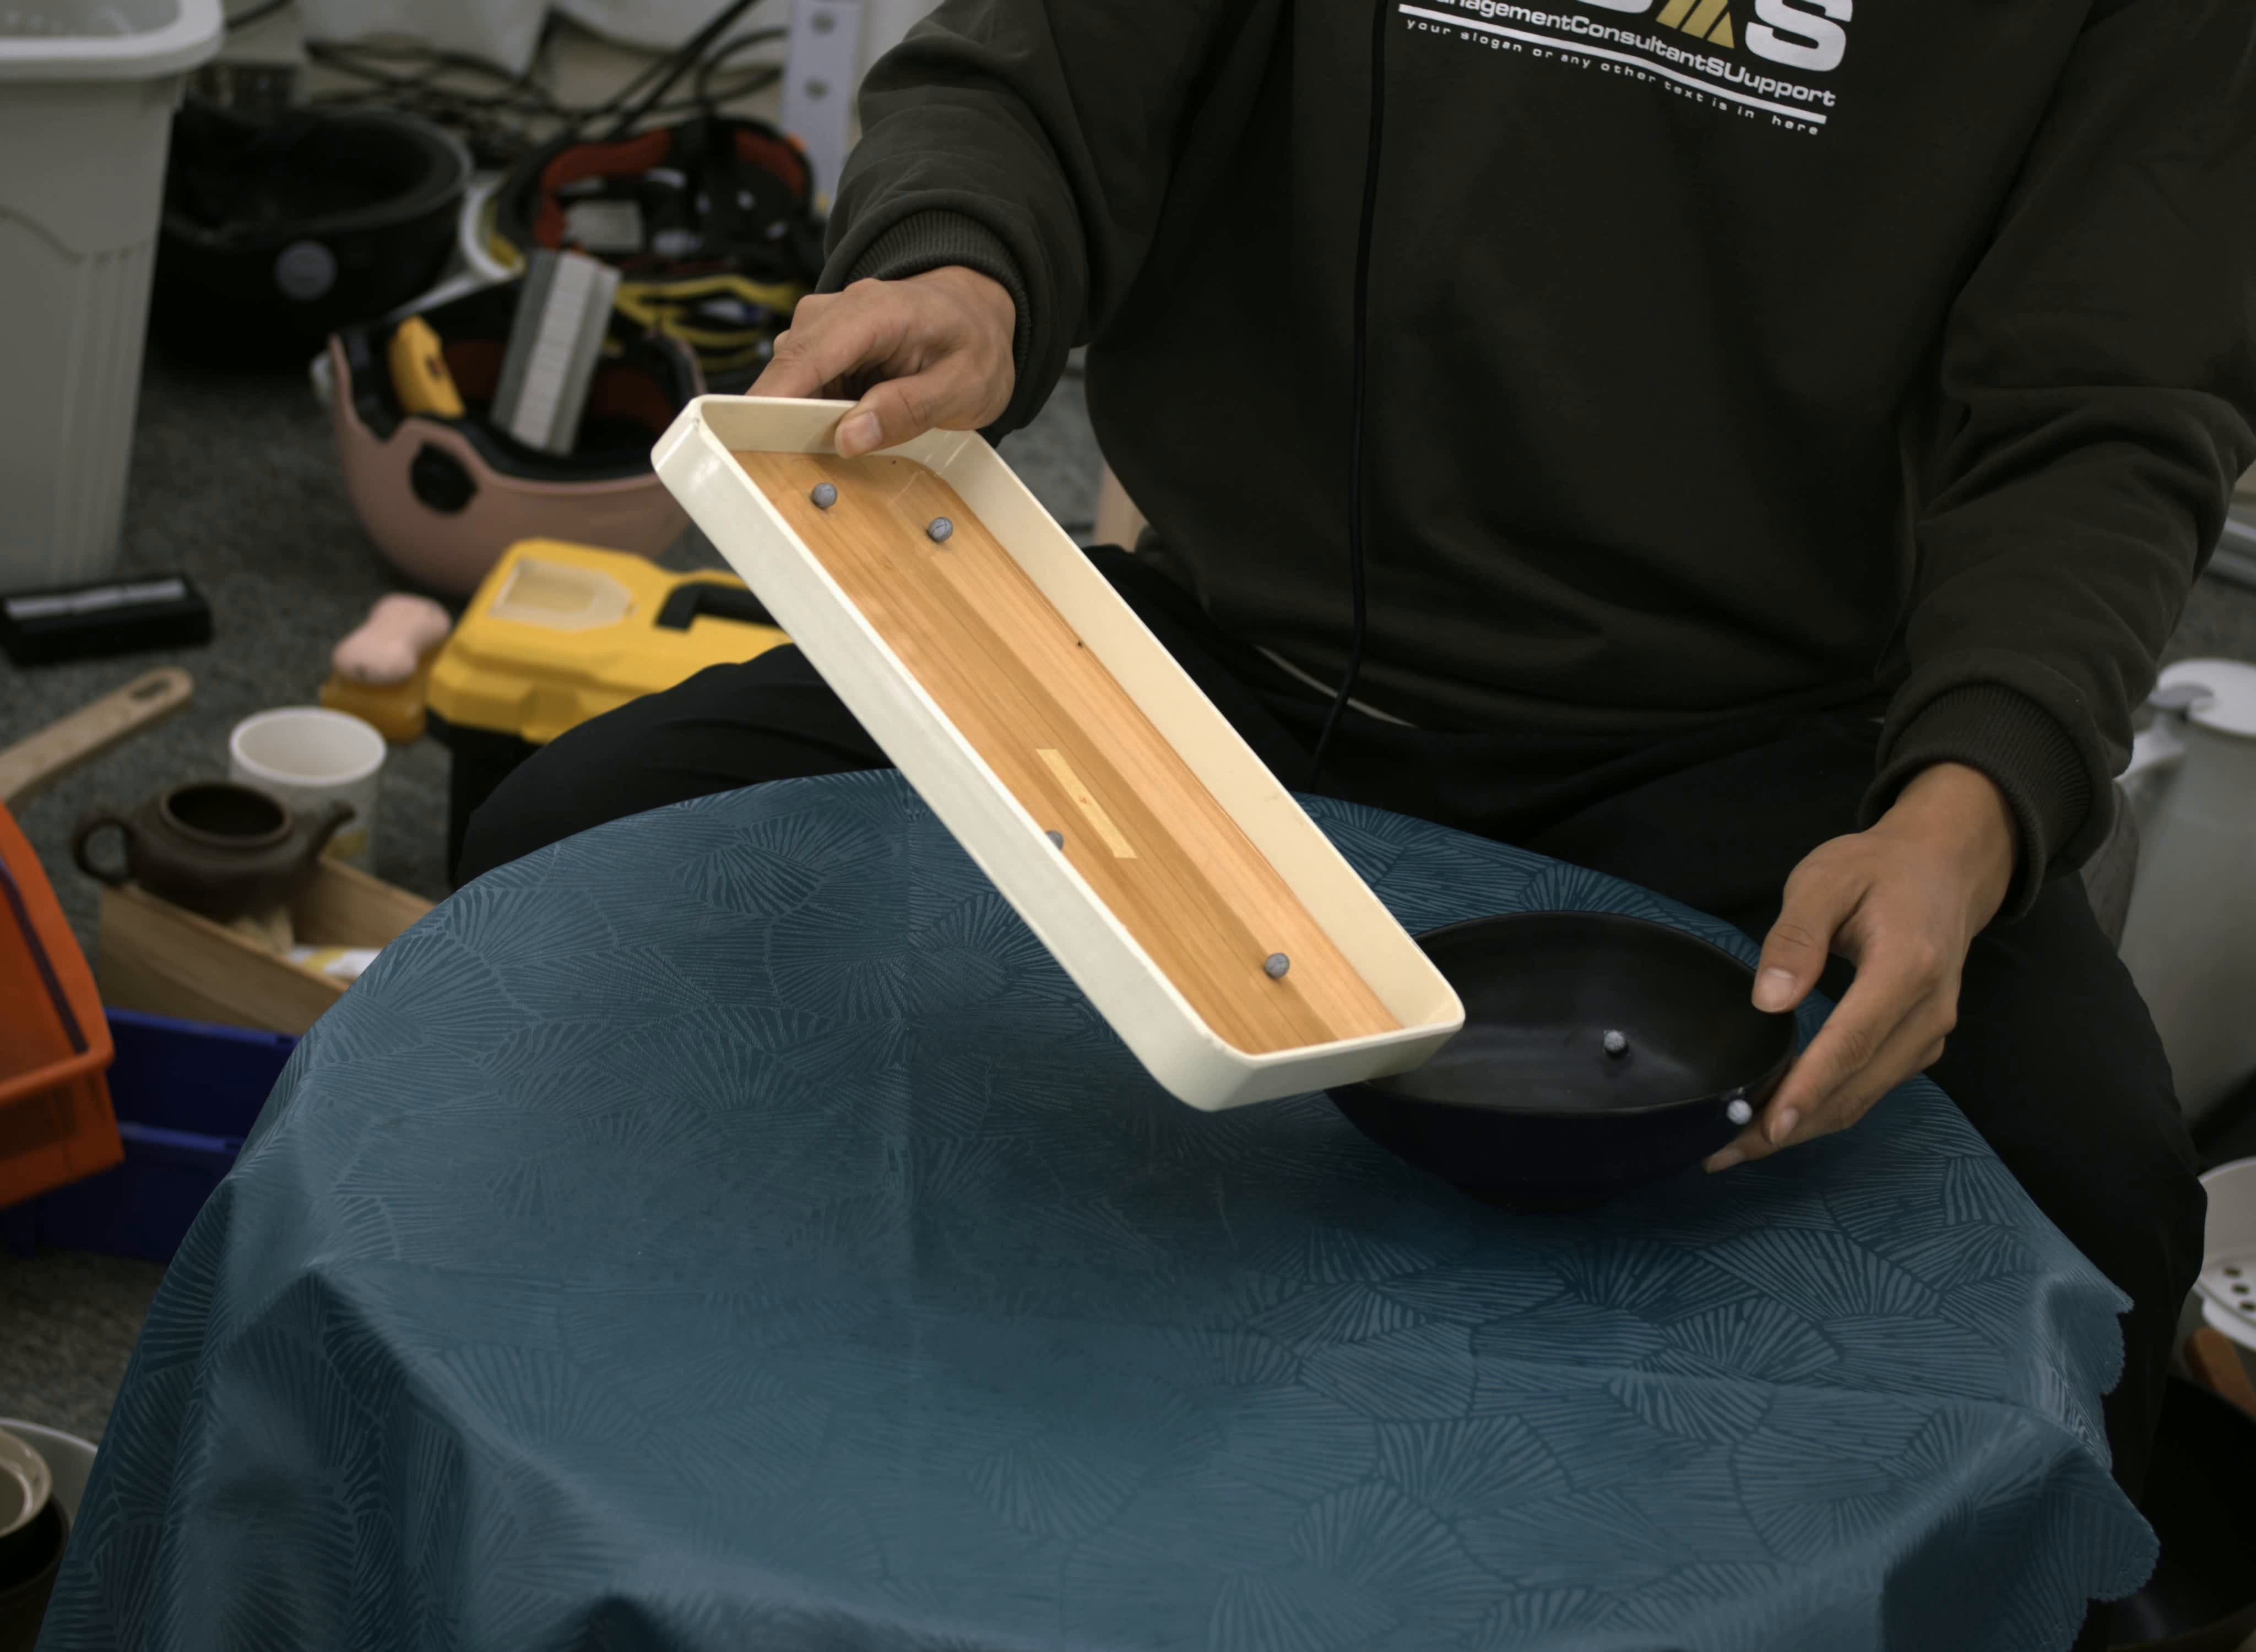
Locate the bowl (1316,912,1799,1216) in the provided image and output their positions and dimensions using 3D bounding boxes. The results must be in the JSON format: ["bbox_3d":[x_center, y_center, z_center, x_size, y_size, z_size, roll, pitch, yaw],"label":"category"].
[{"bbox_3d":[0.145,0.091,1.832,0.170,0.066,0.138,-2,27,-1],"label":"bowl"}]

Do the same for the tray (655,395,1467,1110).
[{"bbox_3d":[-0.021,-0.029,1.801,0.302,0.027,0.190,50,23,18],"label":"tray"}]
